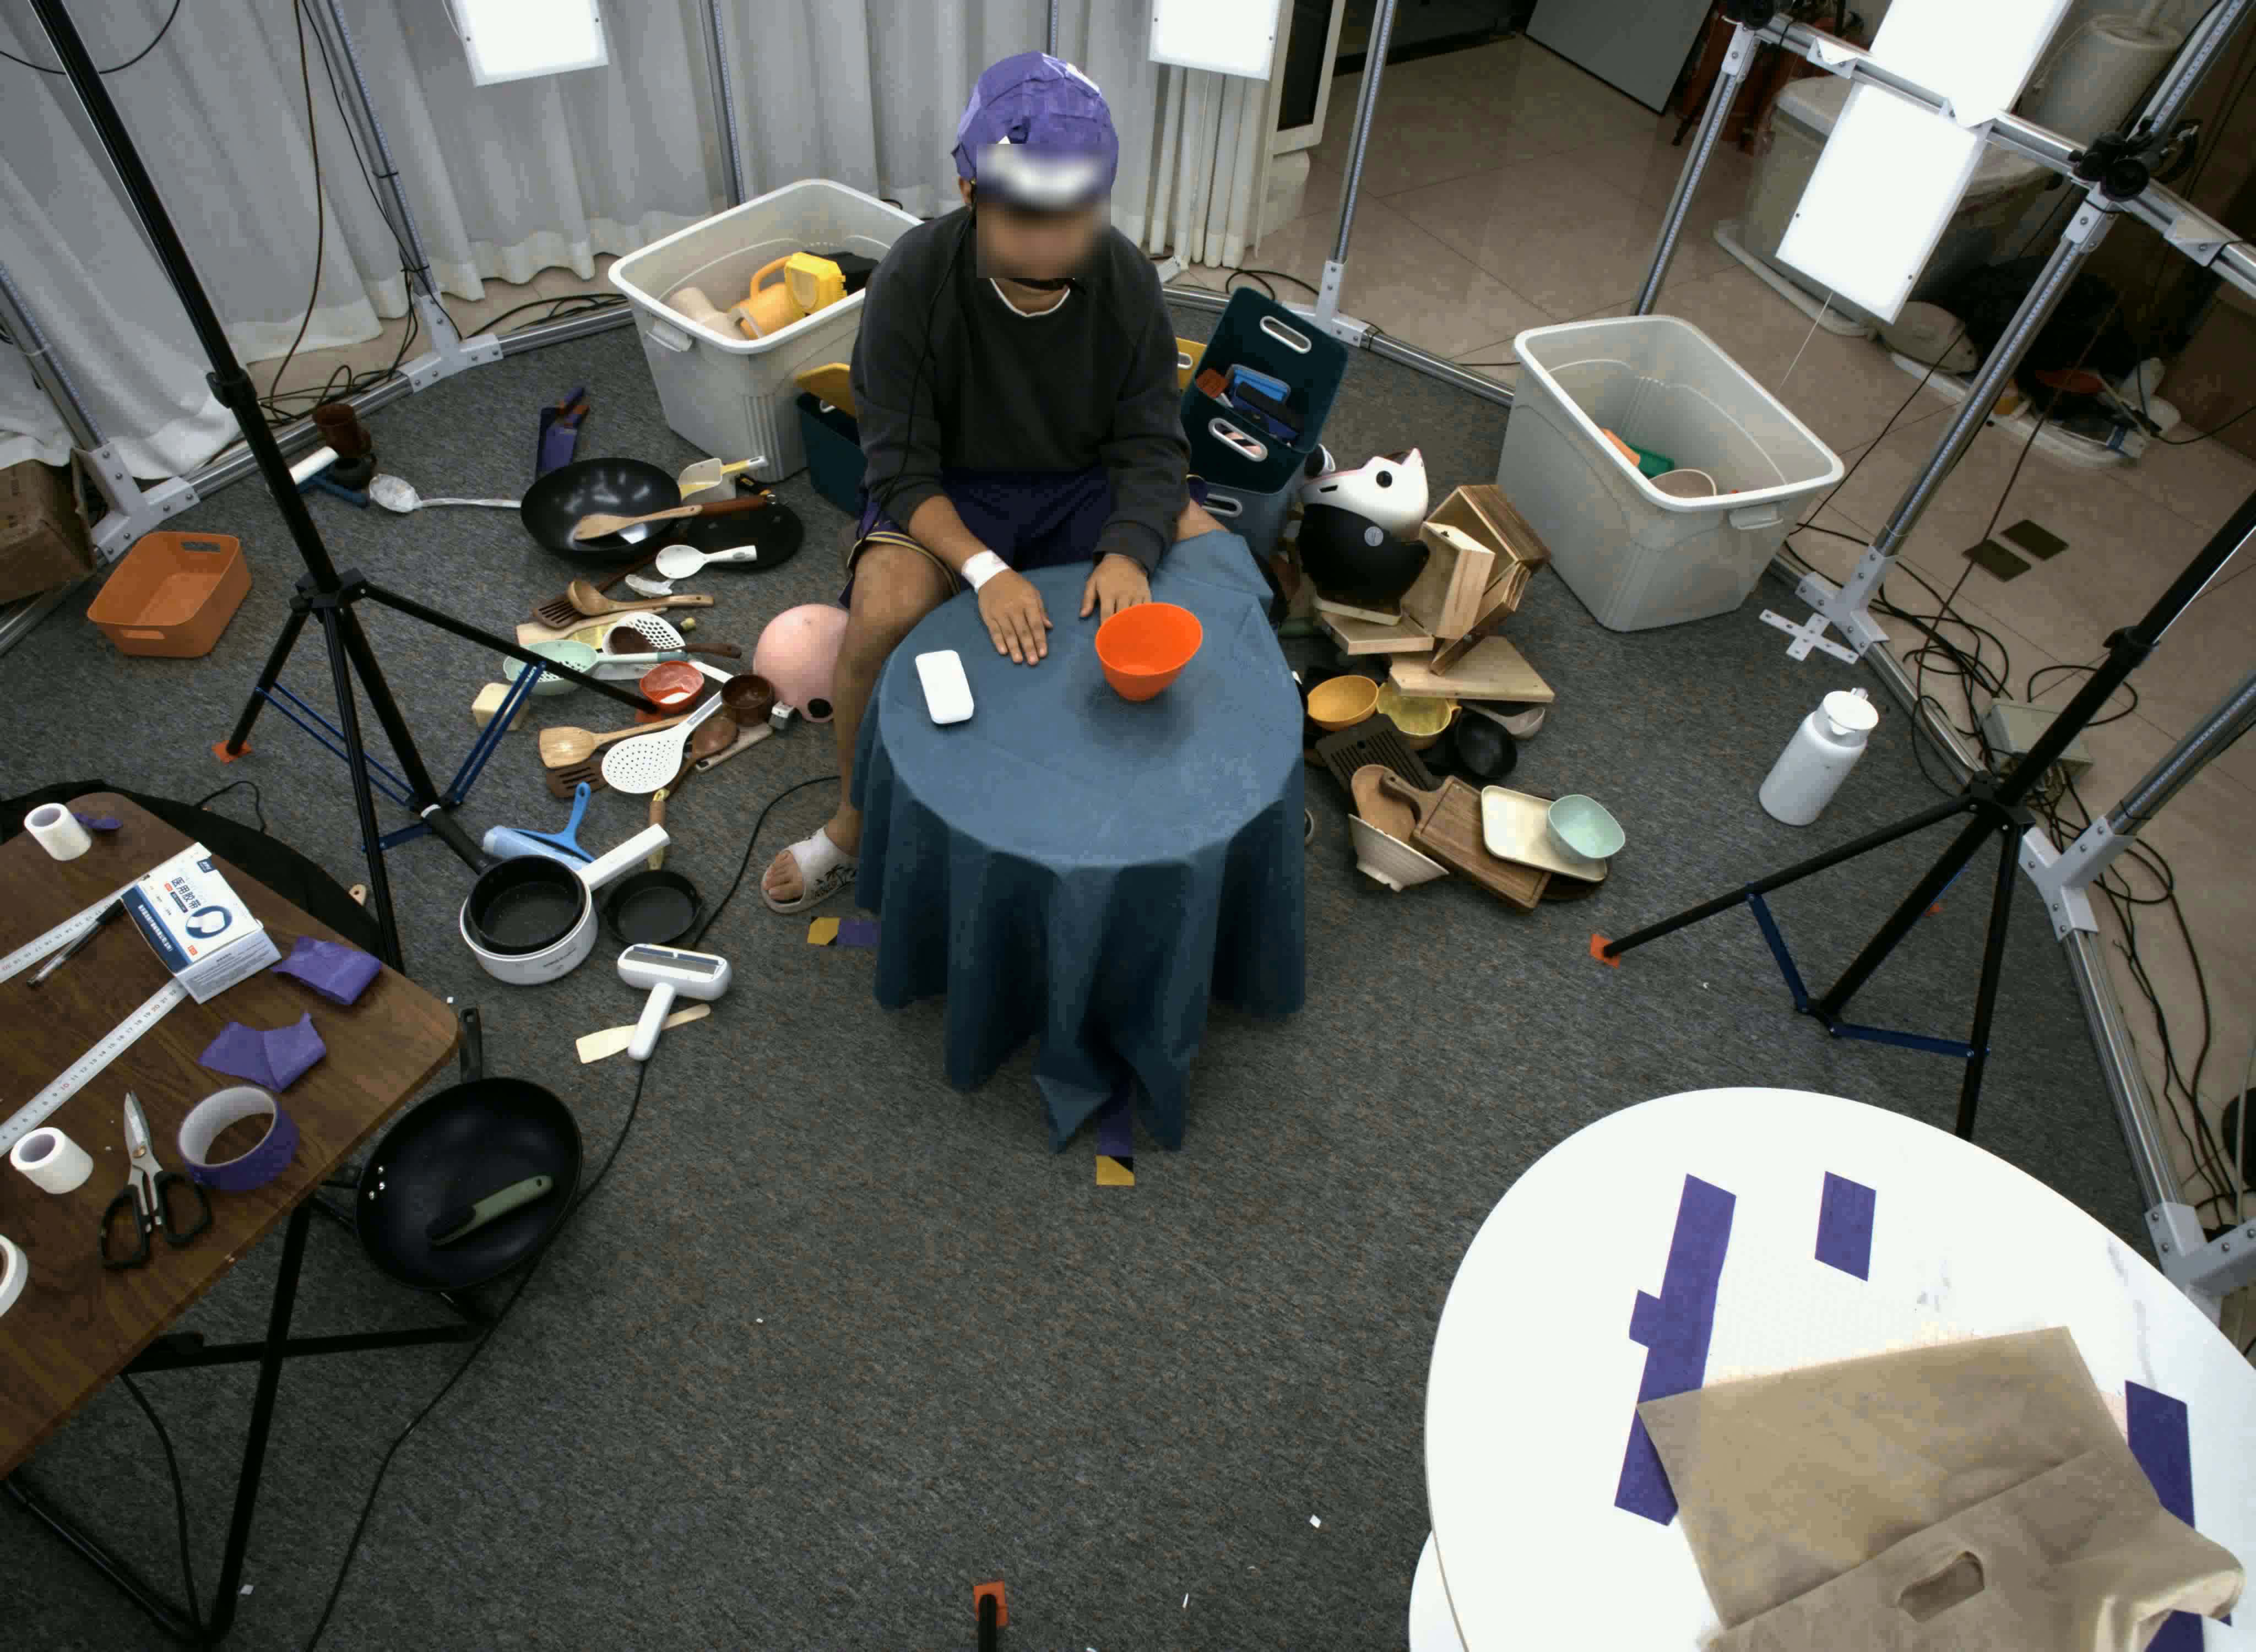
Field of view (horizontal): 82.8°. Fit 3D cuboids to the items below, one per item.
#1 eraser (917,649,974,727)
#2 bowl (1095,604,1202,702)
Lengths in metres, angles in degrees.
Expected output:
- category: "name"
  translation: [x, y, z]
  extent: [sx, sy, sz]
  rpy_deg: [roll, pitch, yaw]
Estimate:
- category: "eraser"
  translation: [-0.254, -0.196, 1.798]
  extent: [0.063, 0.034, 0.134]
  rpy_deg: [-8, 52, -13]
- category: "bowl"
  translation: [0.026, -0.233, 1.806]
  extent: [0.148, 0.102, 0.152]
  rpy_deg: [1, 49, -2]
